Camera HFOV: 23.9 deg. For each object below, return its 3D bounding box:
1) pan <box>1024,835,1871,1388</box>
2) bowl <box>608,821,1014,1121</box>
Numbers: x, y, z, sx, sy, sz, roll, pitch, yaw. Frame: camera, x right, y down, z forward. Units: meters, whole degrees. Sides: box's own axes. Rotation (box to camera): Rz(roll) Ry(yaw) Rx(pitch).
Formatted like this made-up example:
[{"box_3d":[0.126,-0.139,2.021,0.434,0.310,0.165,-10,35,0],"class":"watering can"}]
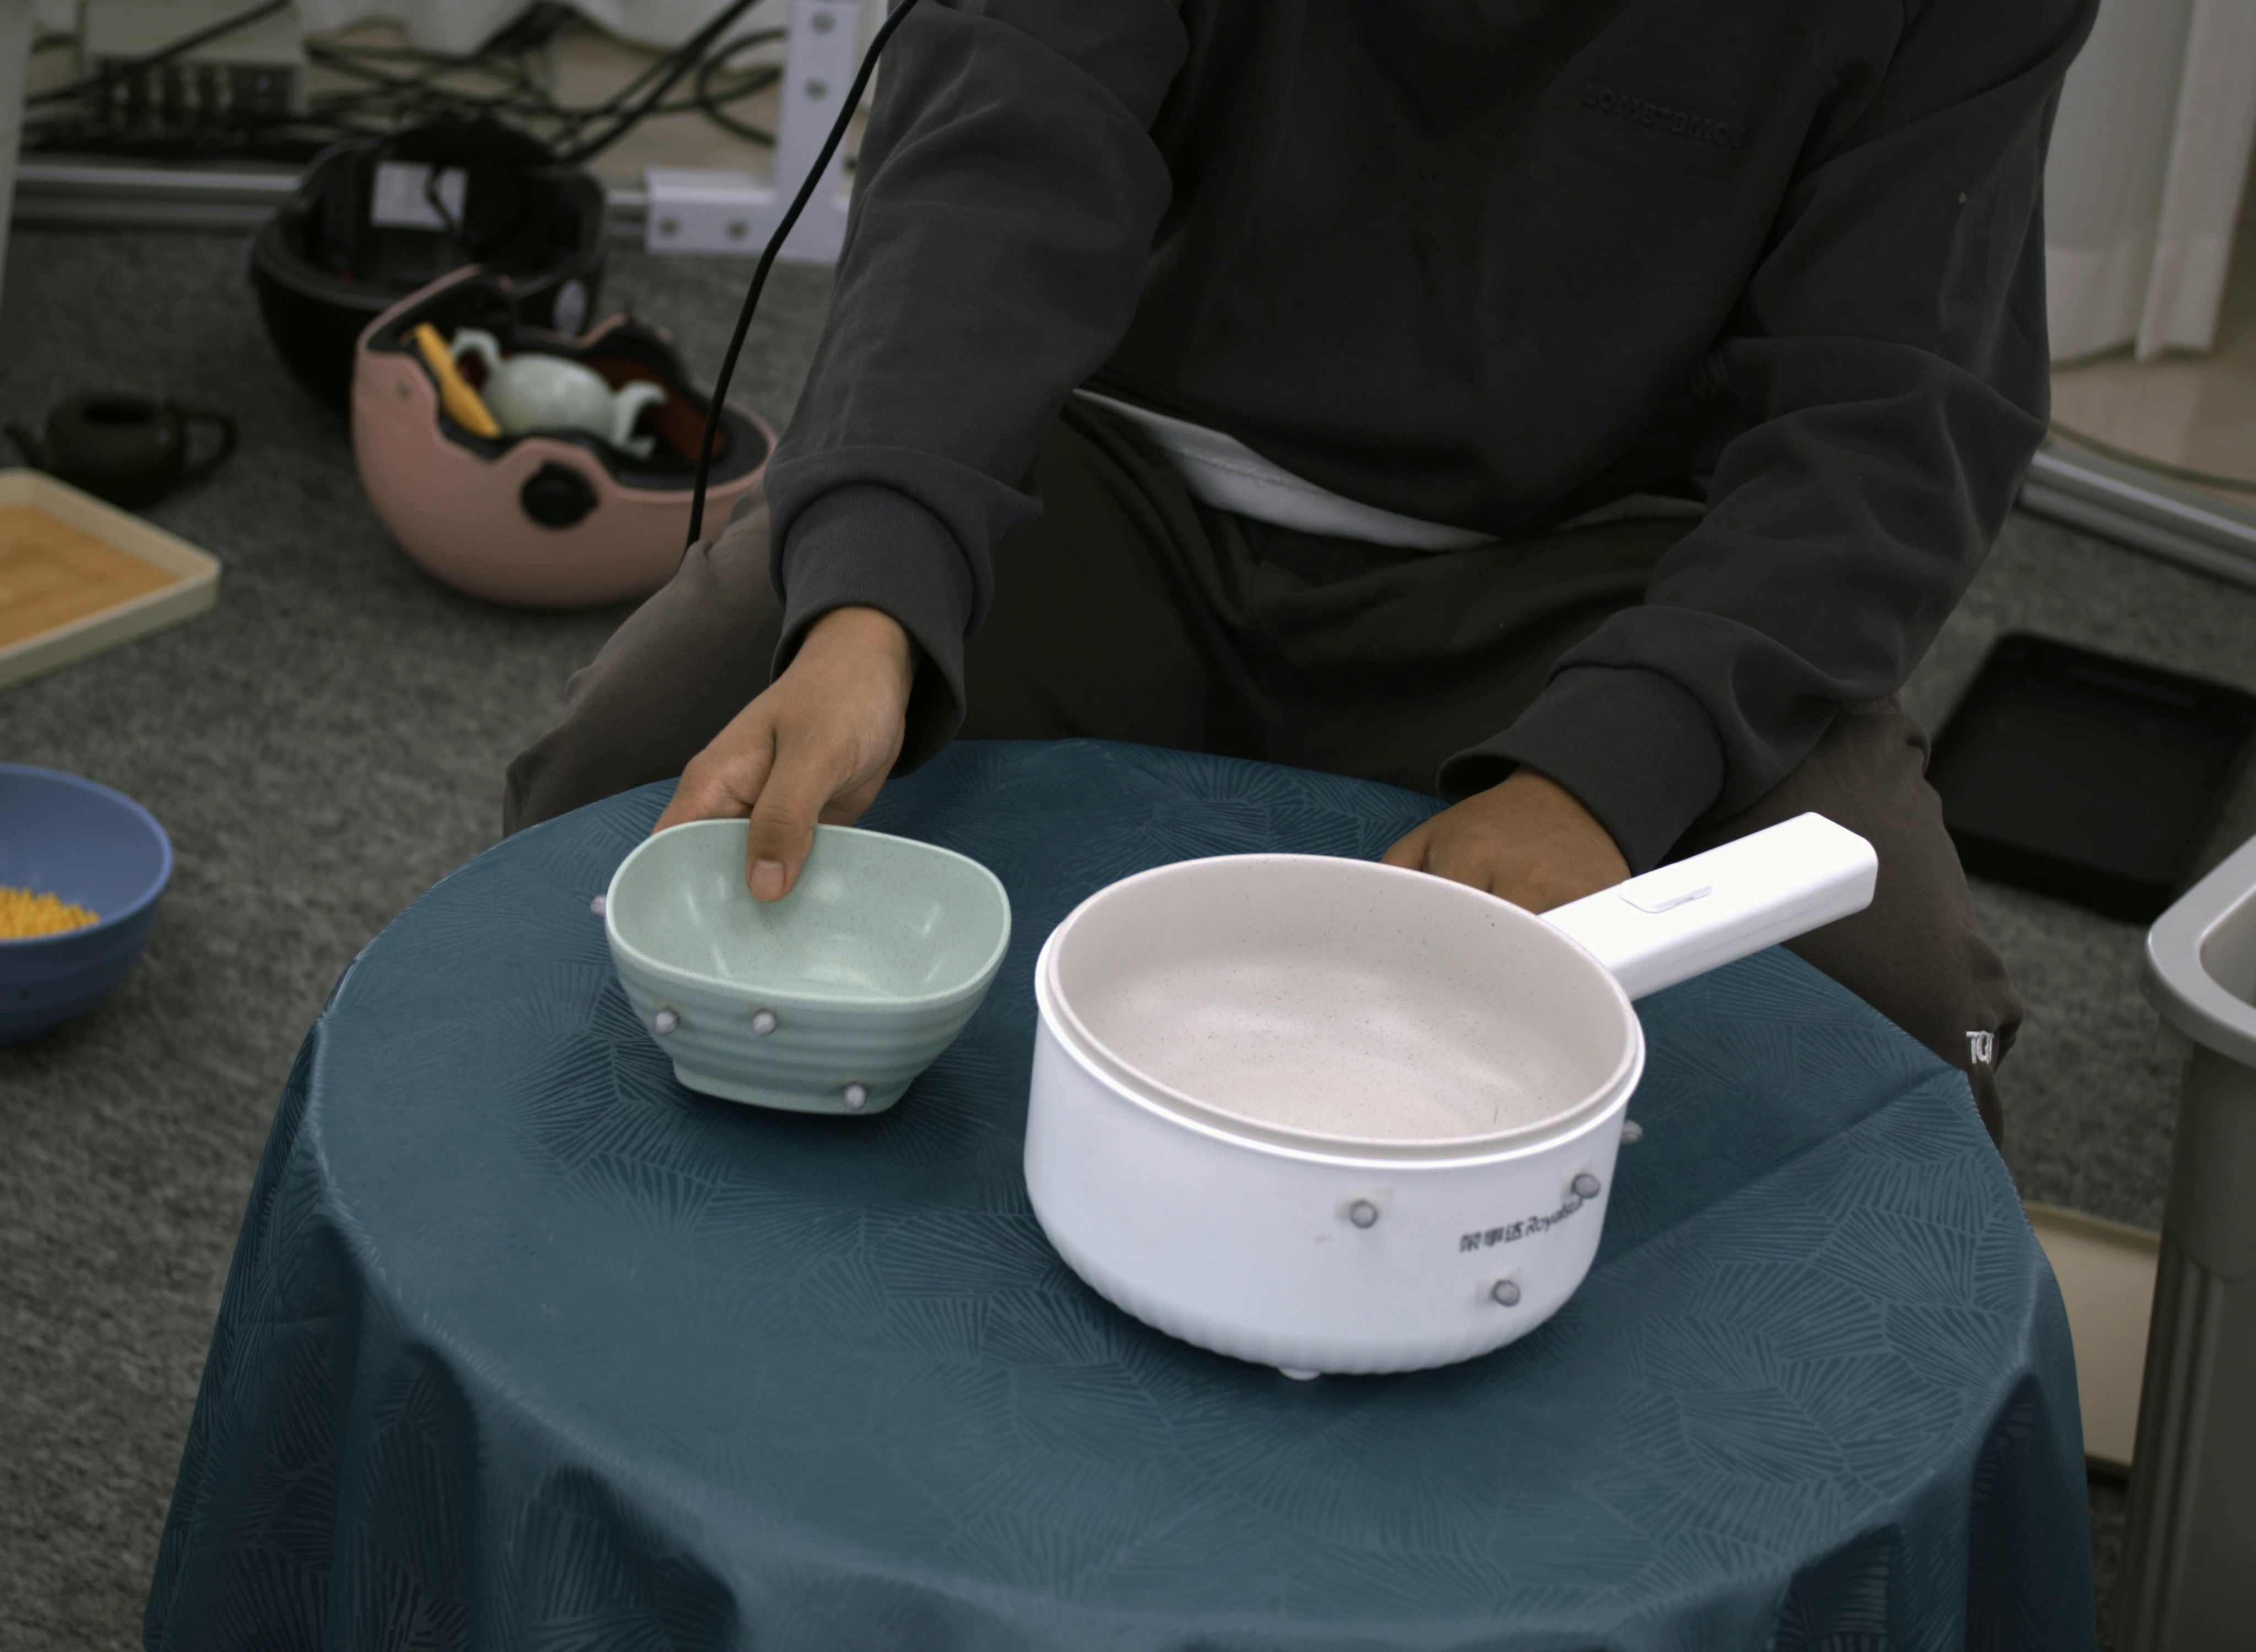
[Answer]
[{"box_3d":[0.119,0.087,1.811,0.353,0.102,0.203,-16,32,-41],"class":"pan"},{"box_3d":[-0.111,0.056,1.843,0.151,0.058,0.152,5,26,-3],"class":"bowl"}]
